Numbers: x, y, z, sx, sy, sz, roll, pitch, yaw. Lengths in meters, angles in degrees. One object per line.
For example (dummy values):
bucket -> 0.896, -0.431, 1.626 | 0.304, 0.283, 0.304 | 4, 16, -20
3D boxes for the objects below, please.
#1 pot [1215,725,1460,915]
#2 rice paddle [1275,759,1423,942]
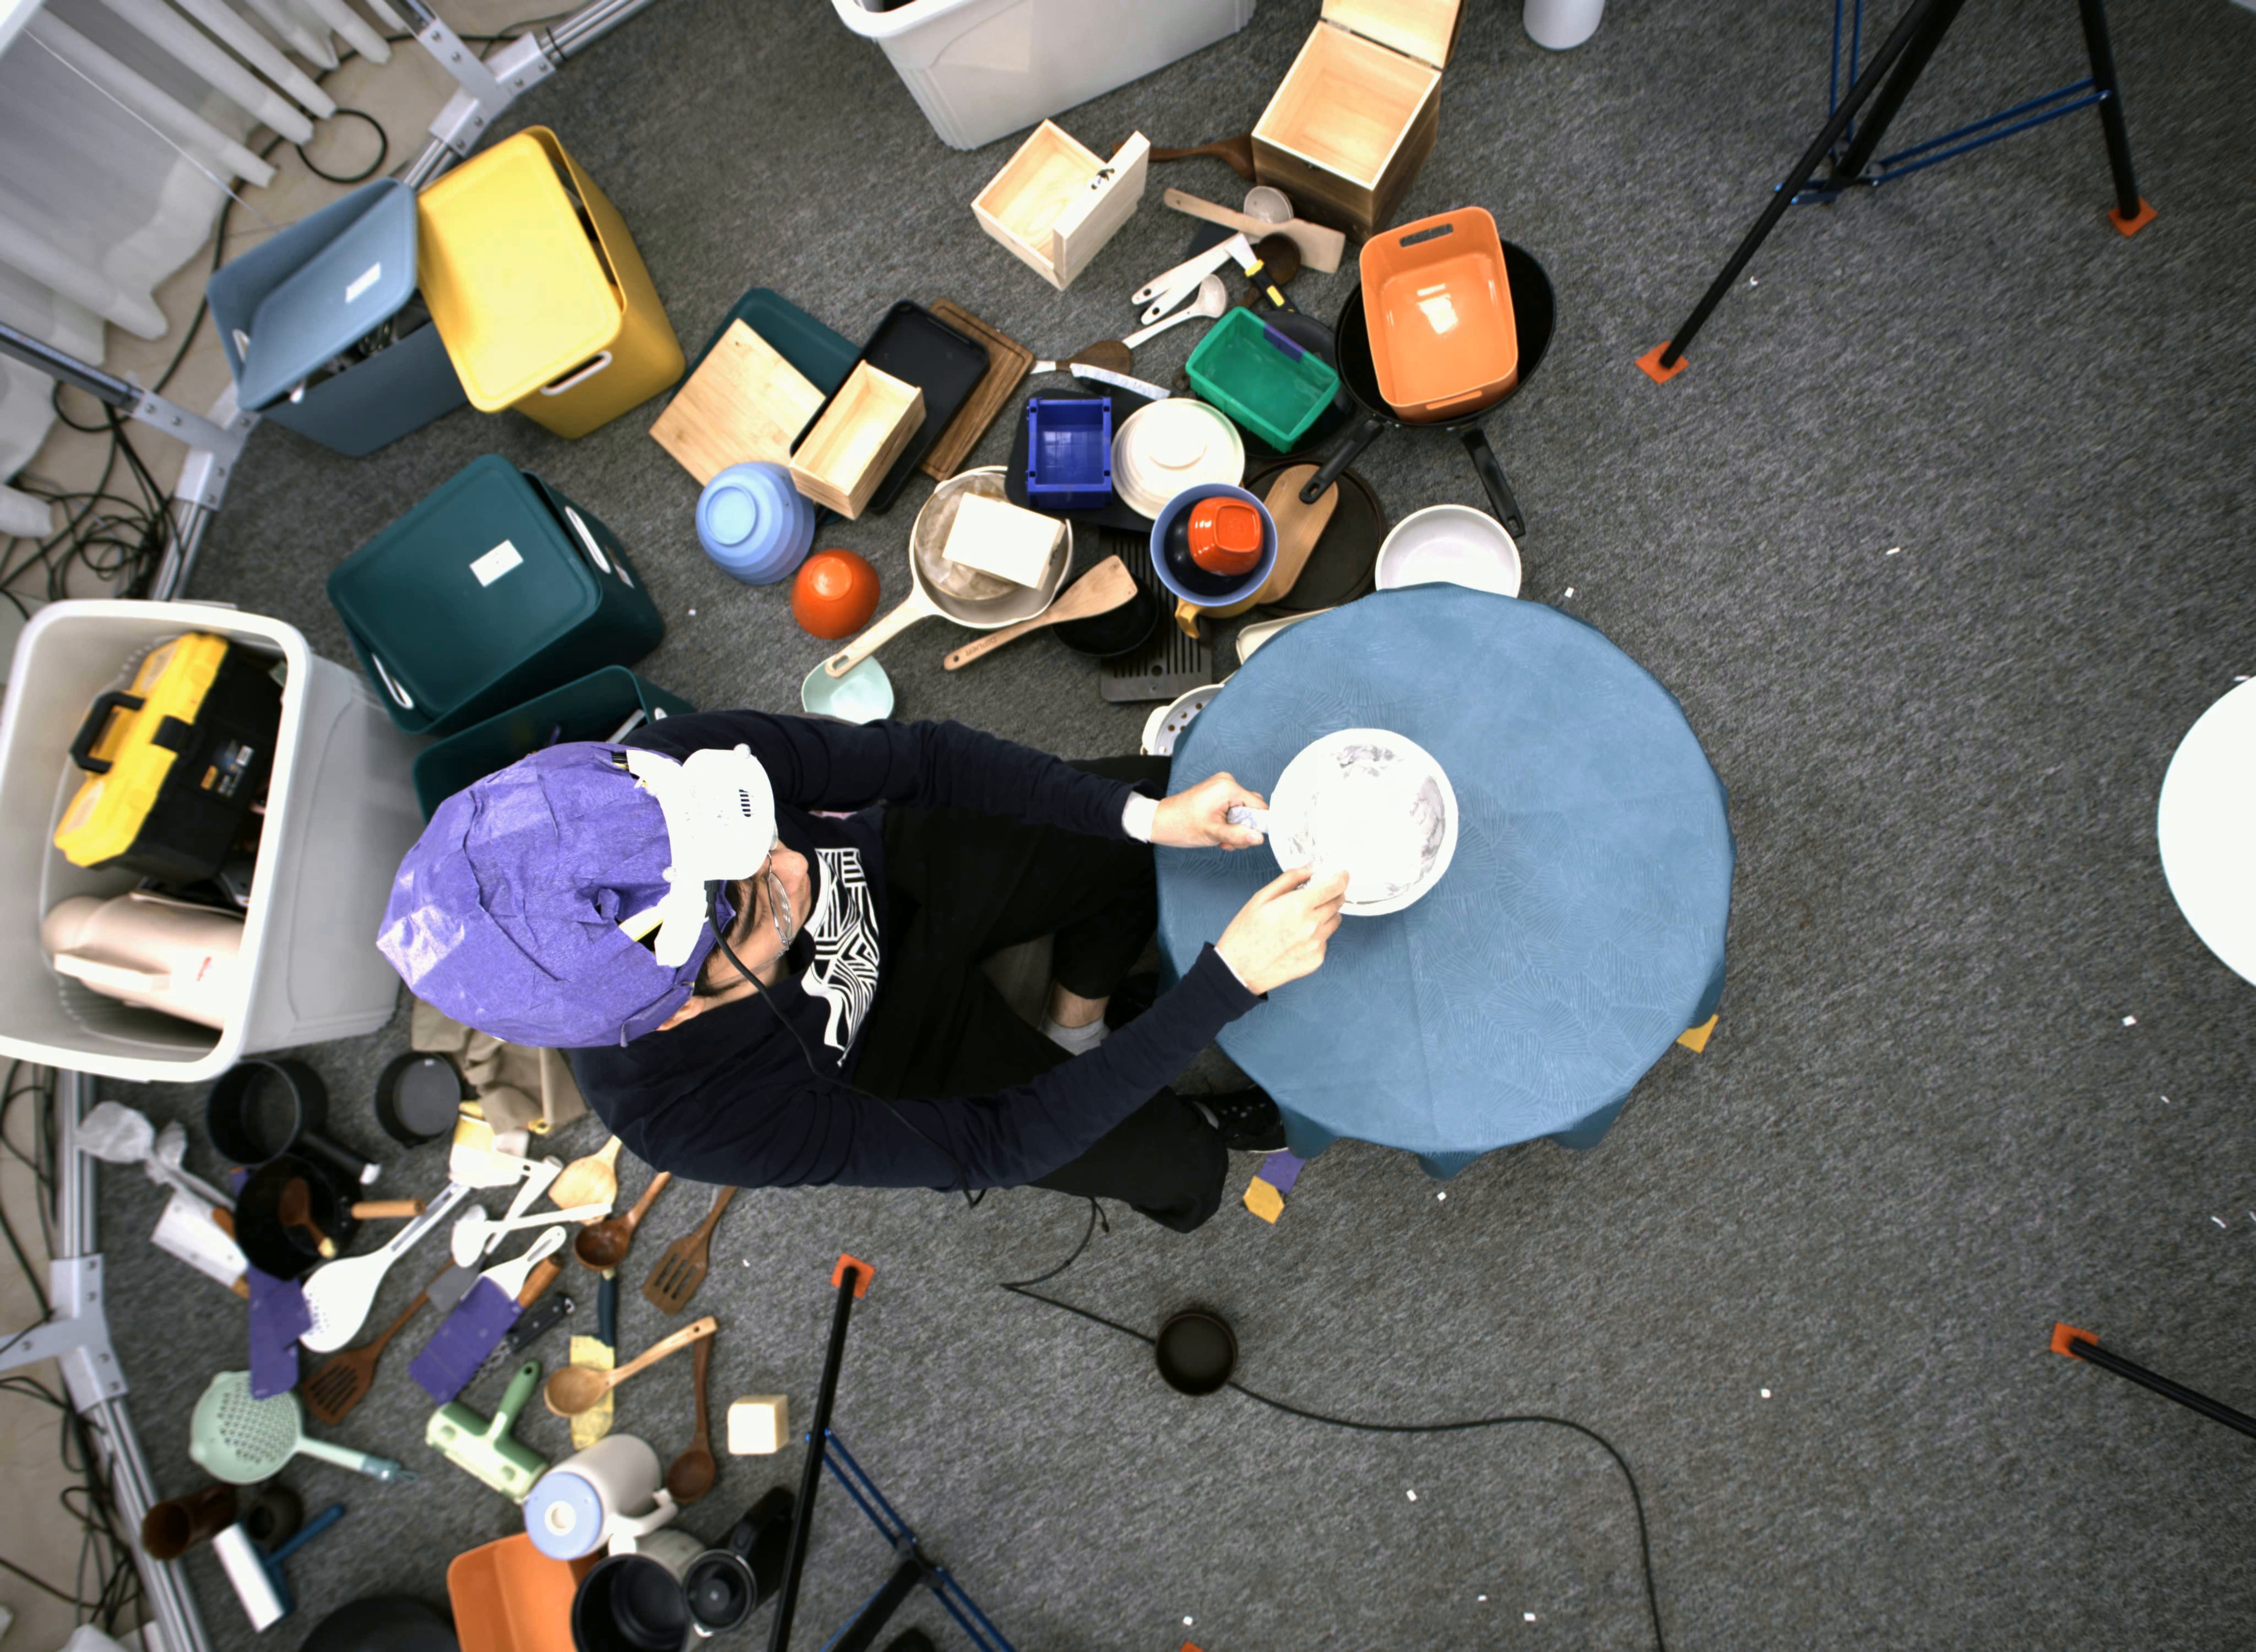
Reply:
pot -> 0.201, -0.002, 1.360 | 0.234, 0.137, 0.178 | -1, 86, 7
rice paddle -> 0.206, 0.015, 1.271 | 0.029, 0.068, 0.204 | 39, 84, -22
